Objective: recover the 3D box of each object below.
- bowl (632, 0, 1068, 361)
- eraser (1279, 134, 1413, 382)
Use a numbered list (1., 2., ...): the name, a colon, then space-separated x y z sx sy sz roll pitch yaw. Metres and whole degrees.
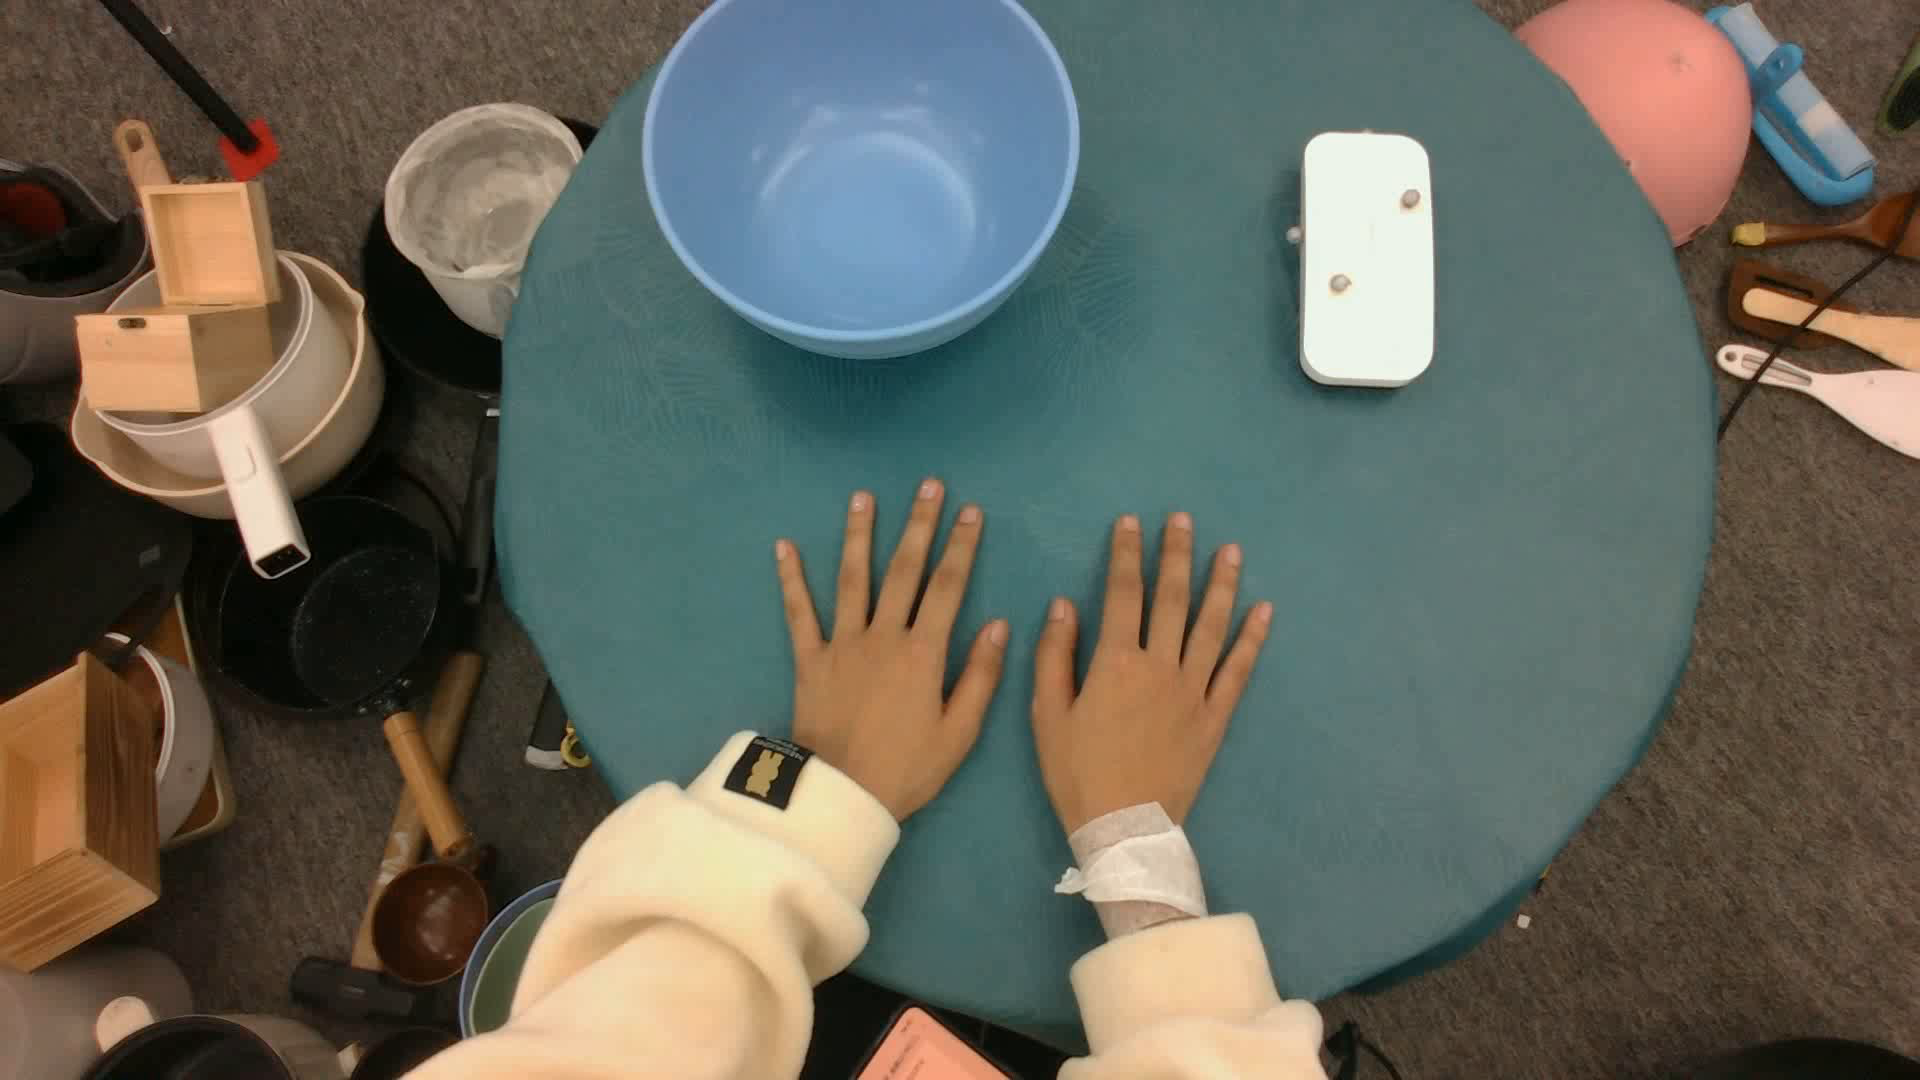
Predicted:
1. bowl: -0.051 -0.164 0.663 0.196 0.095 0.197 1 70 -3
2. eraser: 0.189 -0.142 0.687 0.063 0.034 0.131 2 73 2
